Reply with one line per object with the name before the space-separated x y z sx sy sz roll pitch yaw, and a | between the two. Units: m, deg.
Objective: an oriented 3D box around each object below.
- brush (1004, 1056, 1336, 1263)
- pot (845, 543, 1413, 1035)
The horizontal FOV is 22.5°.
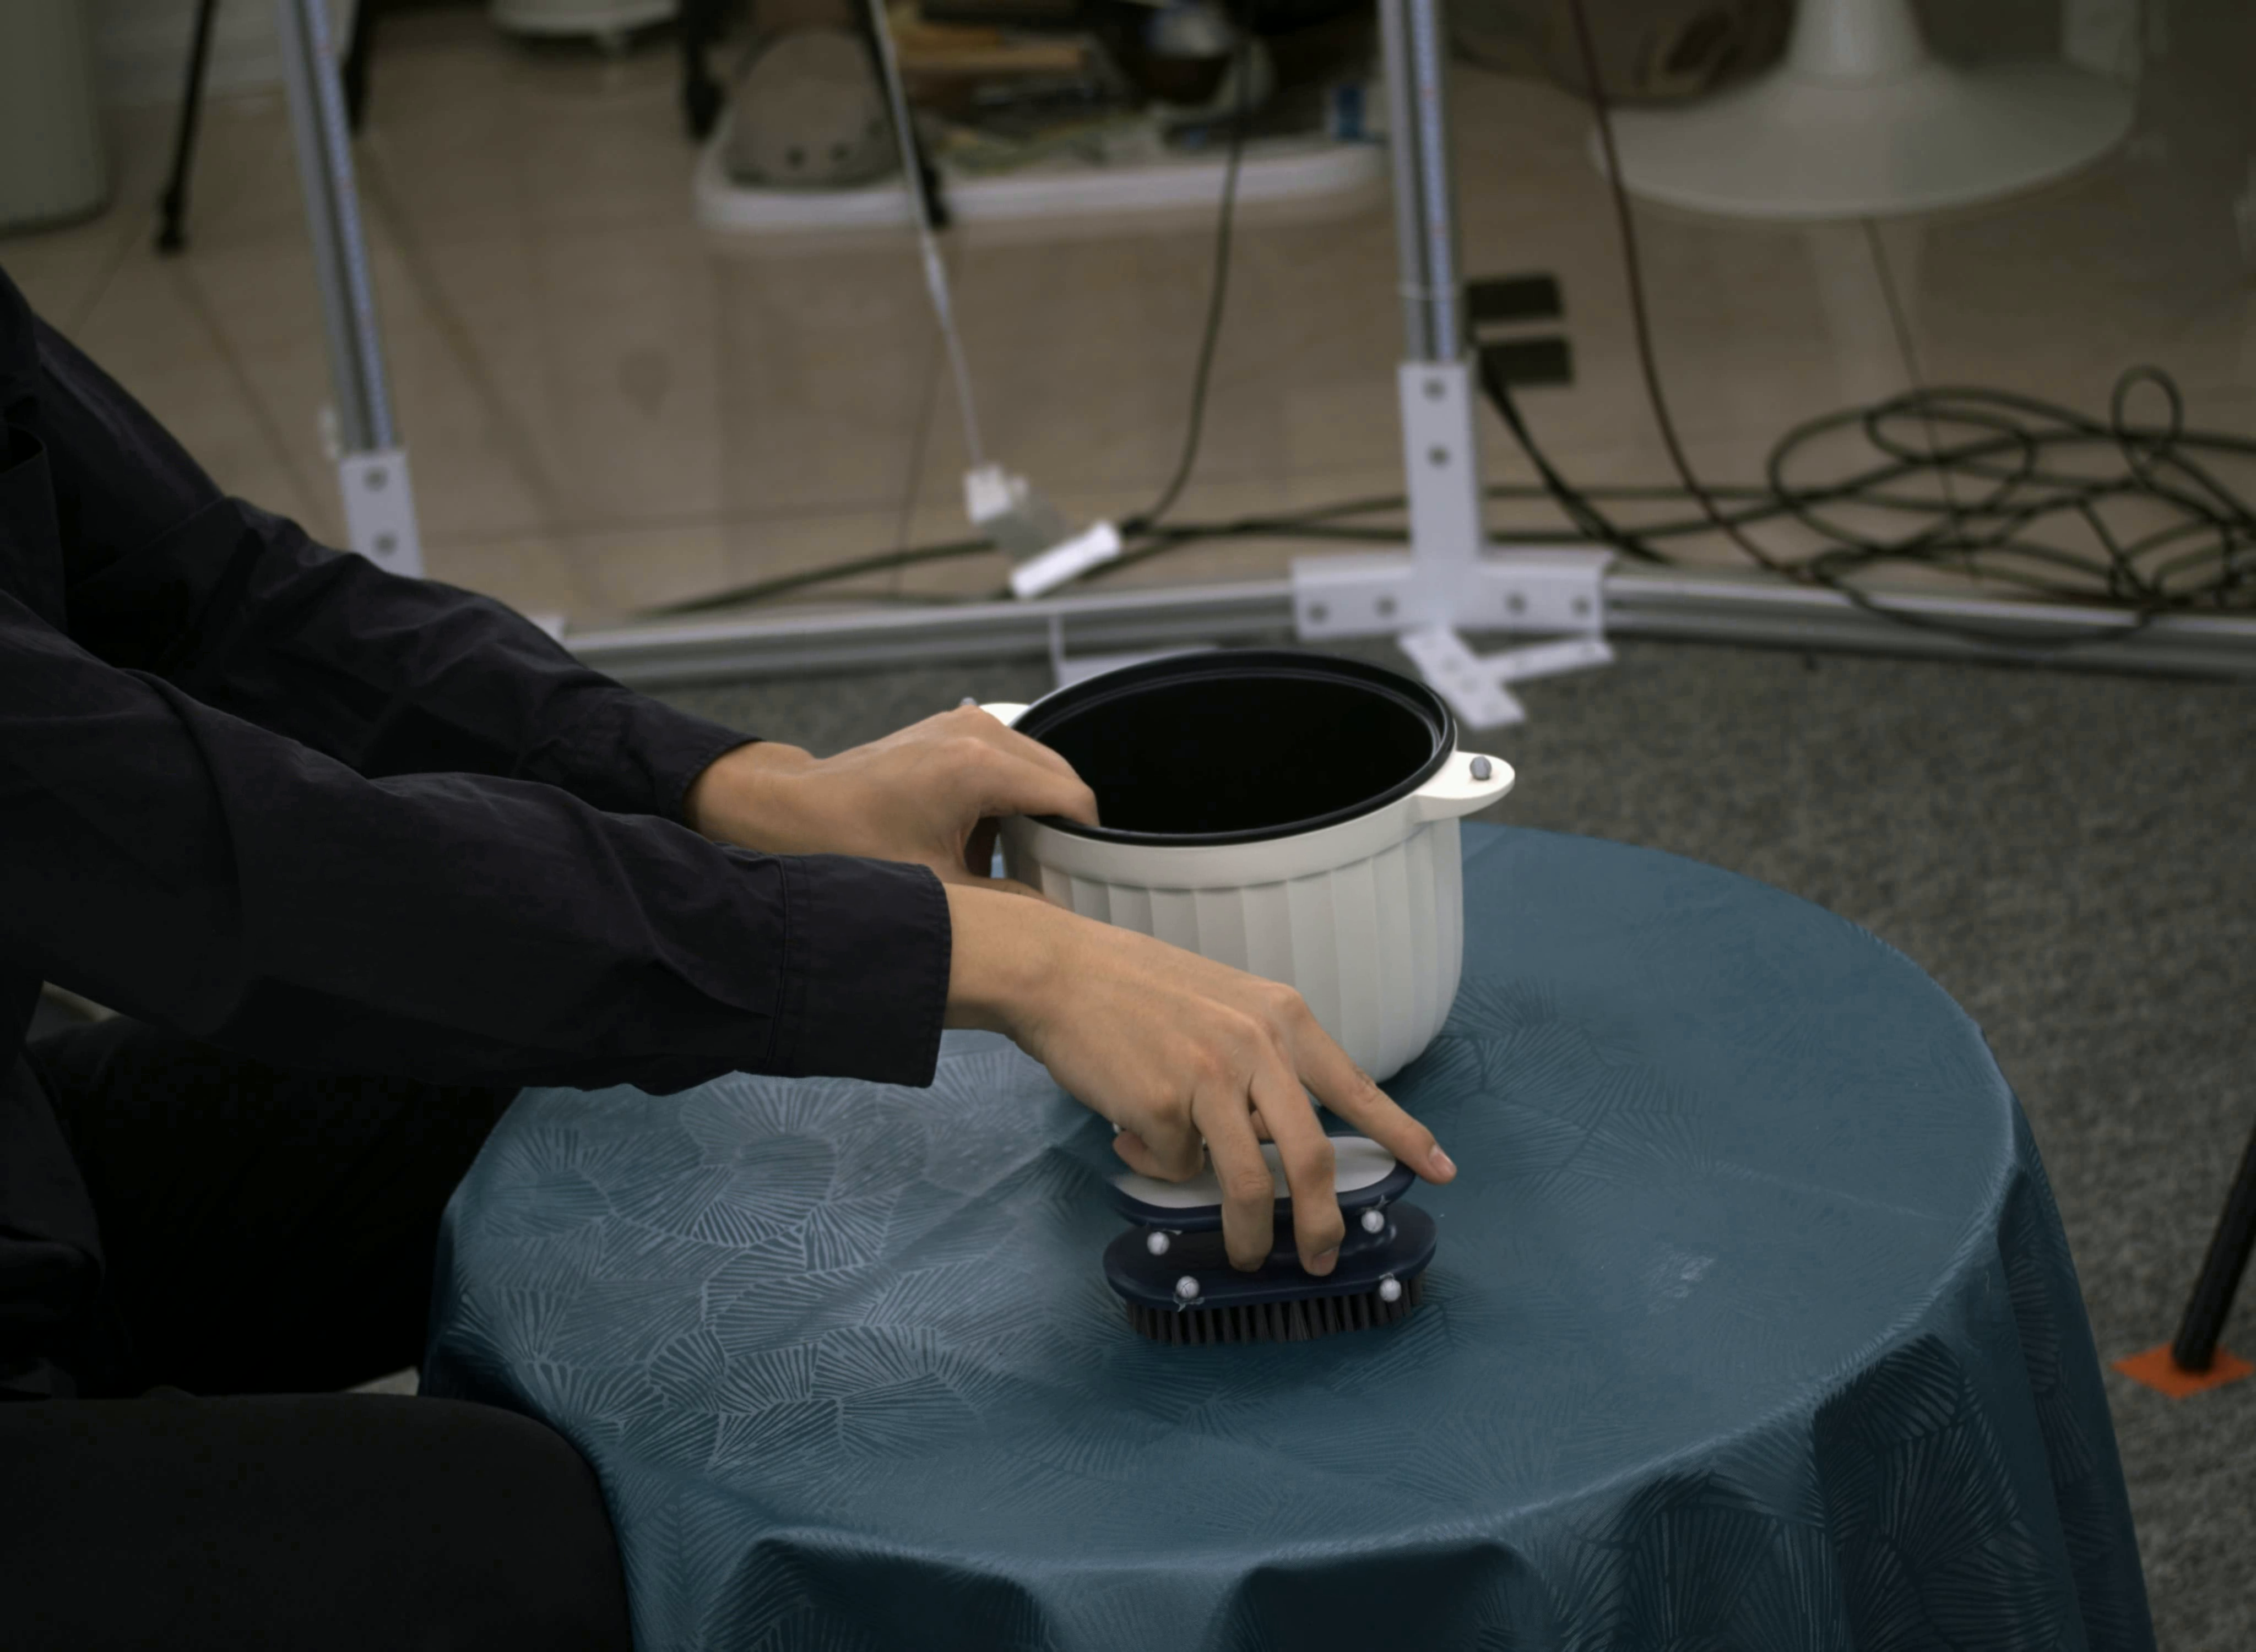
brush | 0.015 0.124 2.069 0.121 0.062 0.067 -1 28 3
pot | 0.005 -0.018 2.246 0.239 0.145 0.188 8 32 23
